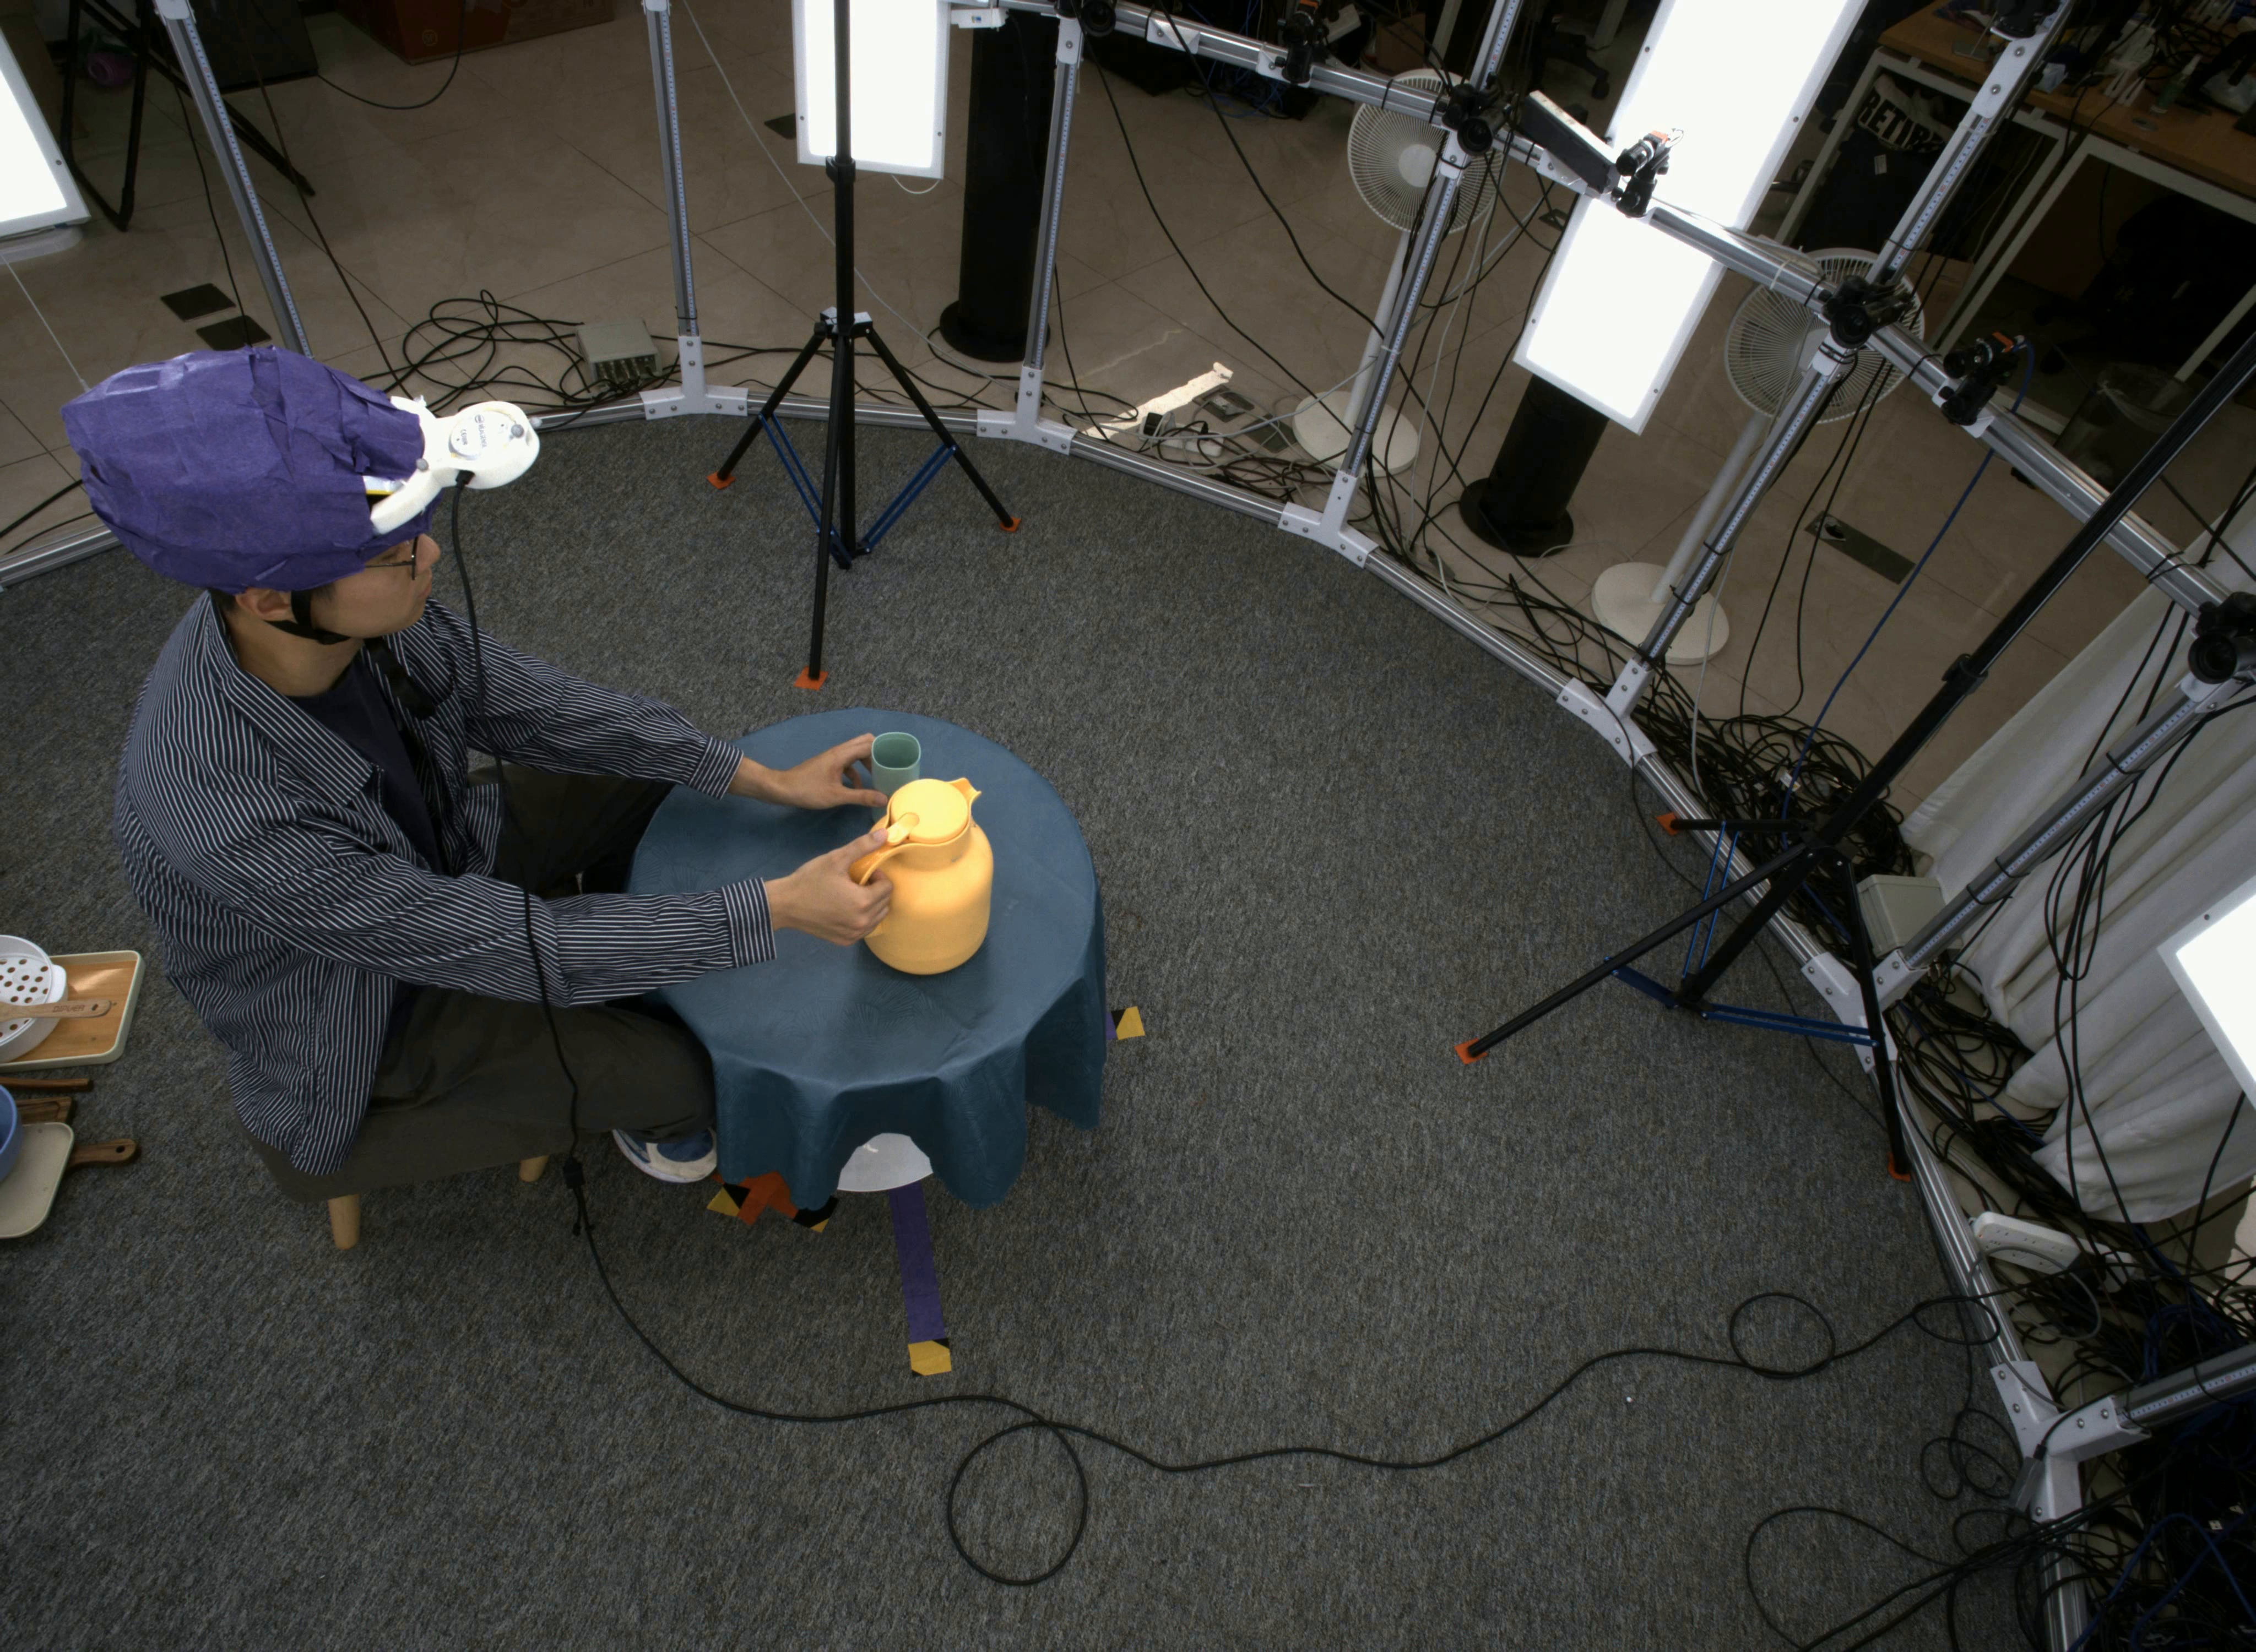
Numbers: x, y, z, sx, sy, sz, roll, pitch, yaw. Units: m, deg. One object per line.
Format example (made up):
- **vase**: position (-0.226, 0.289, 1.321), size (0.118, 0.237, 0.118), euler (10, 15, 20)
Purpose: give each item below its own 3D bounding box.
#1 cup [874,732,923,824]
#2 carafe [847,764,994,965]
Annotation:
- **cup**: position (-0.308, -0.057, 1.729), size (0.066, 0.135, 0.065), euler (7, 51, -7)
- **carafe**: position (-0.258, 0.051, 1.576), size (0.159, 0.266, 0.202), euler (37, 55, 19)
